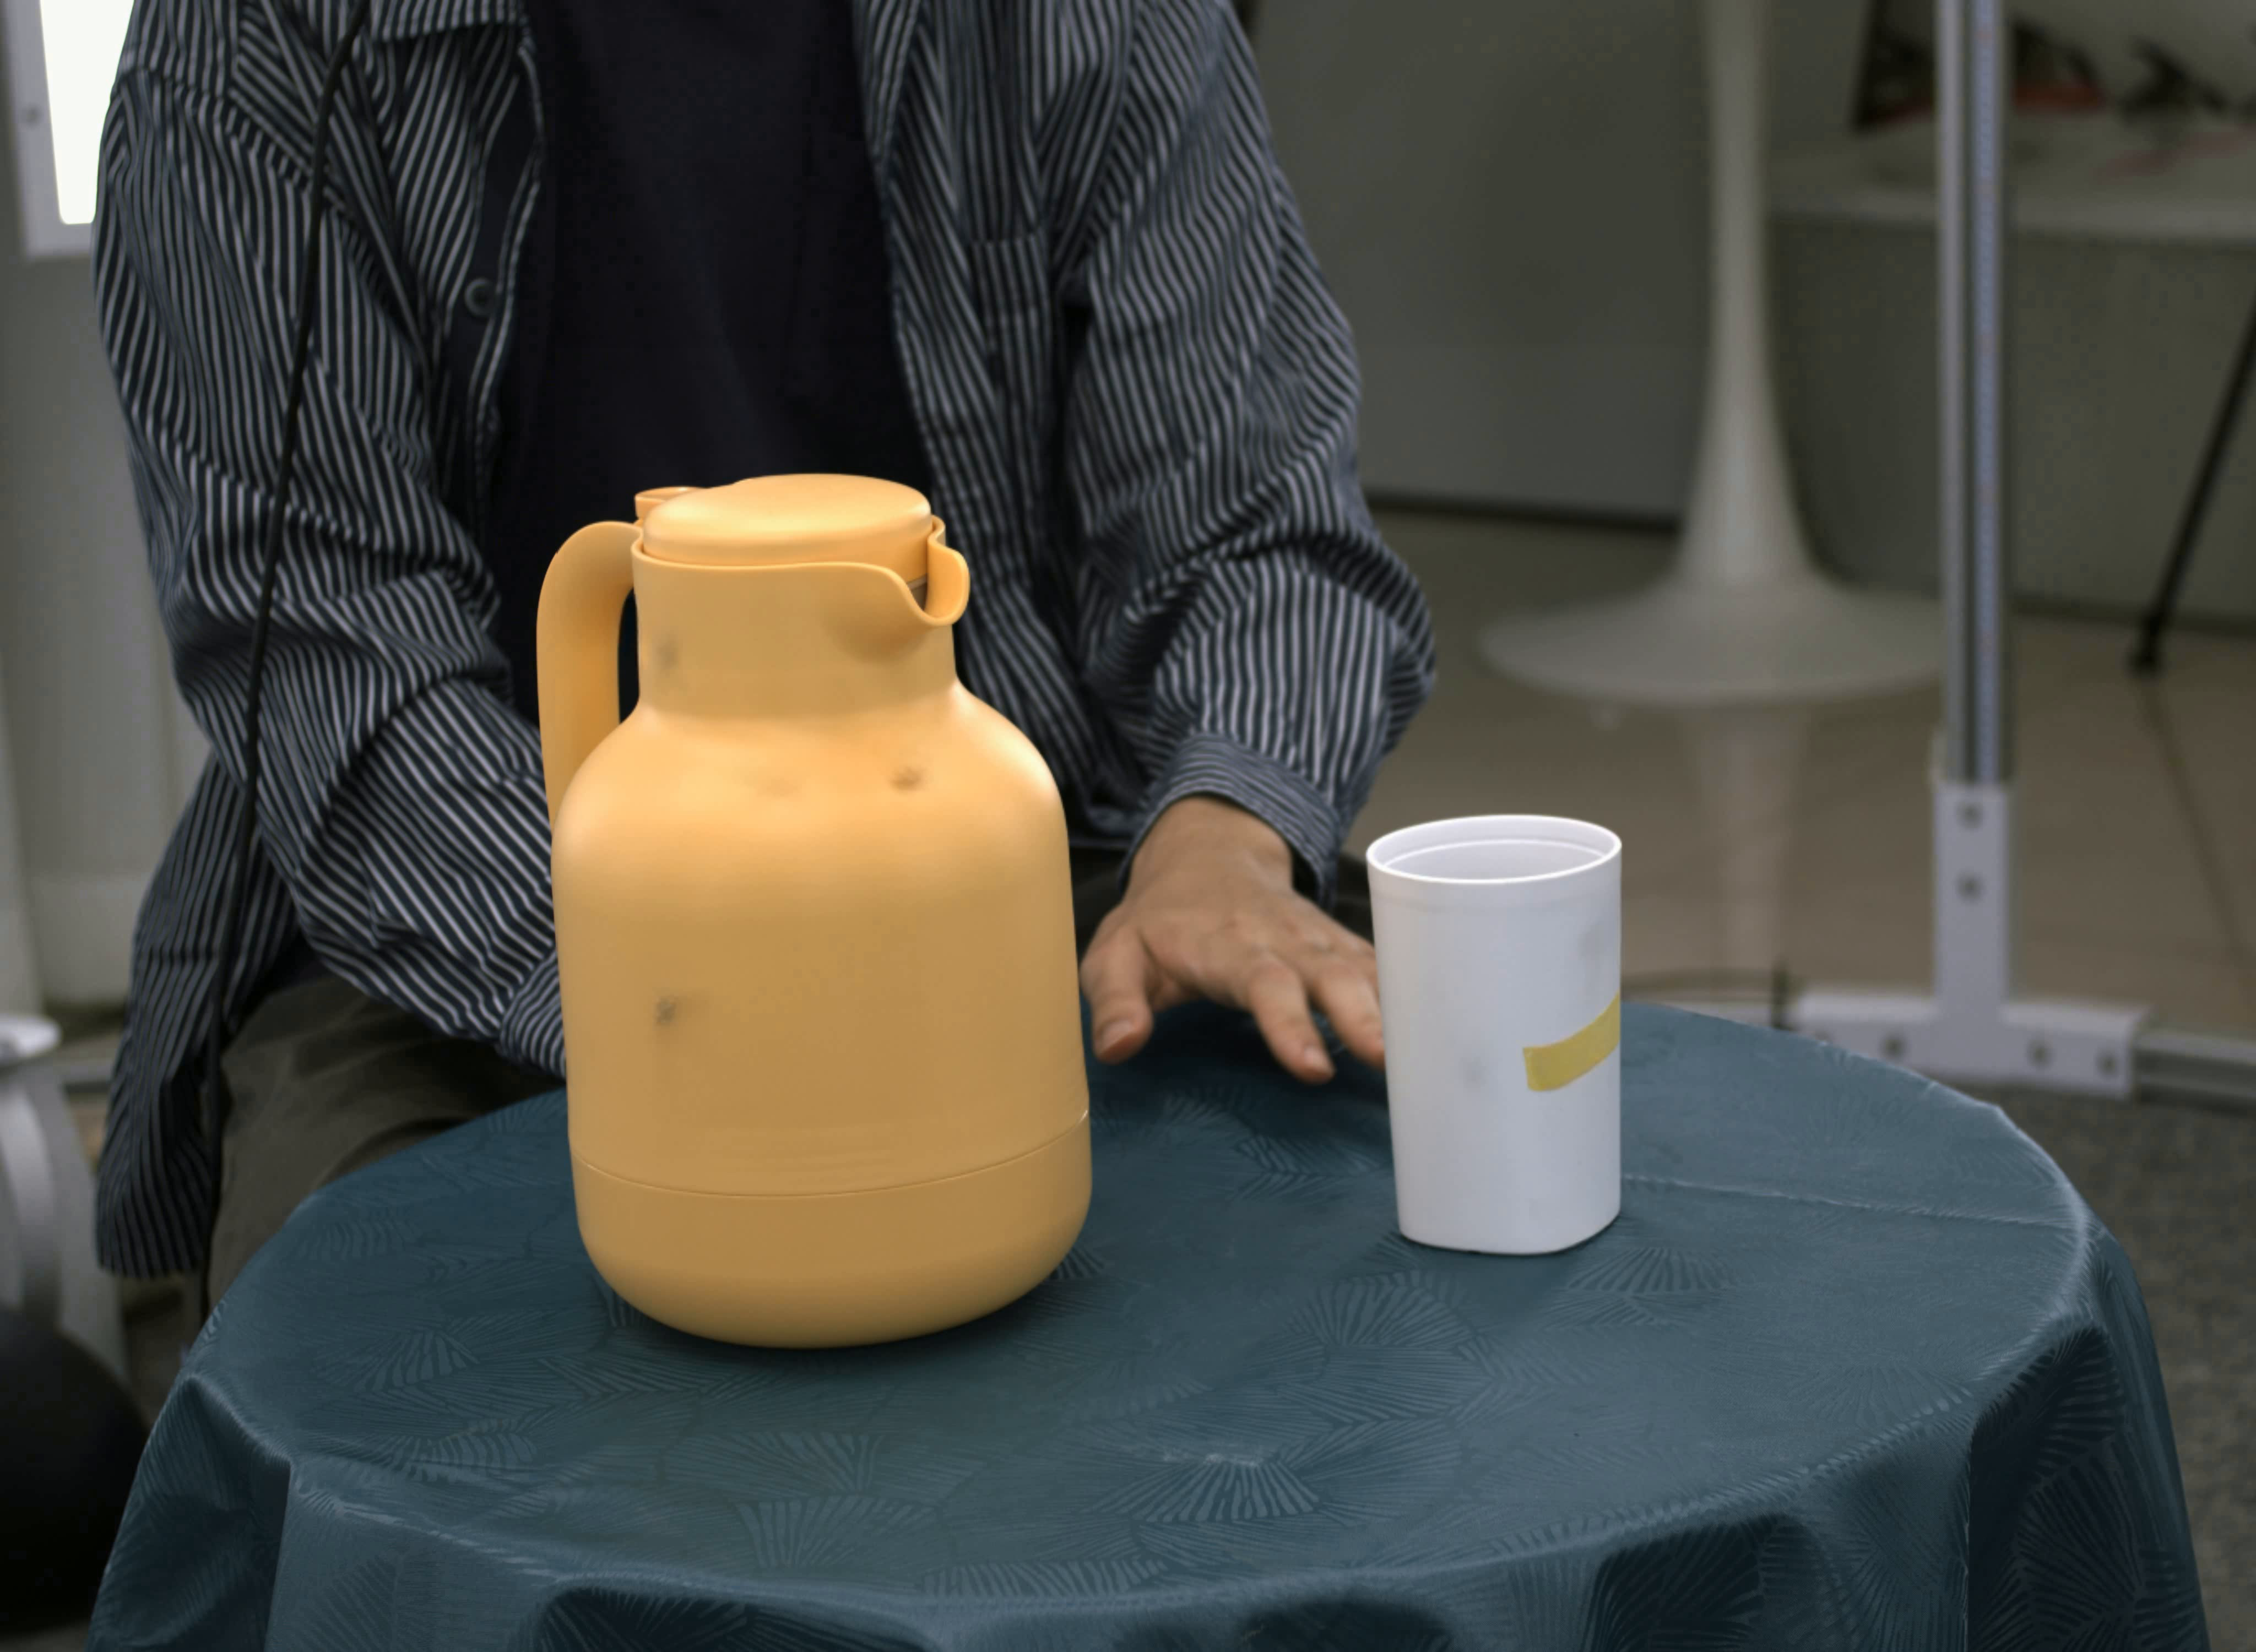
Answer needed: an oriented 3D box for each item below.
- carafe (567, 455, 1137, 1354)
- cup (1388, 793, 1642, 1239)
[{"bbox_3d":[-0.095,0.018,1.672,0.160,0.263,0.204,-14,16,-42],"label":"carafe"},{"bbox_3d":[0.126,0.061,1.705,0.080,0.127,0.082,-4,13,0],"label":"cup"}]
